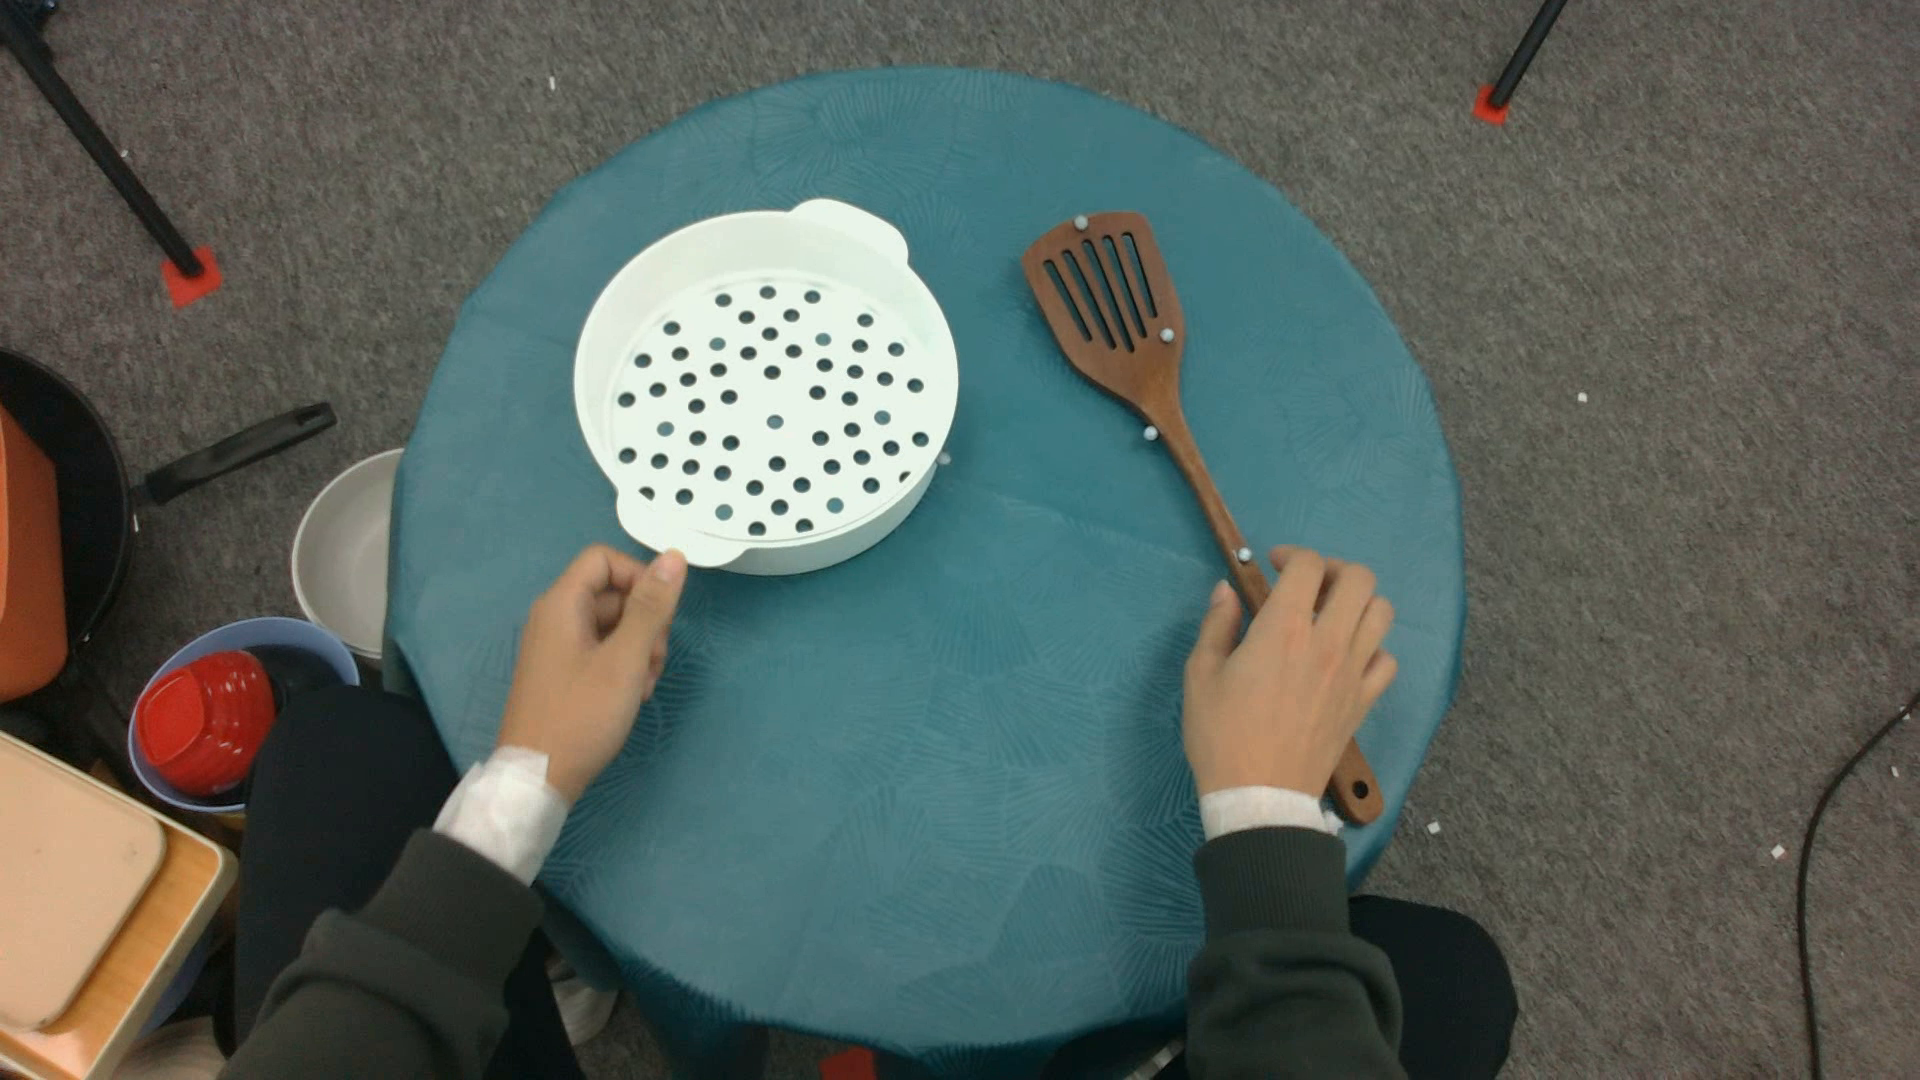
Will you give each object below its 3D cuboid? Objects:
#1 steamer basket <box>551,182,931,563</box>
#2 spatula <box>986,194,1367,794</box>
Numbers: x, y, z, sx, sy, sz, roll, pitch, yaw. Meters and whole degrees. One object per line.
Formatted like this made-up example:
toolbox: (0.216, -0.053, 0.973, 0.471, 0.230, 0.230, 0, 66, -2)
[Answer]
steamer basket: (-0.117, -0.086, 0.759, 0.202, 0.069, 0.231, 21, 71, 6)
spatula: (0.129, -0.033, 0.783, 0.086, 0.023, 0.386, -23, 73, -11)
